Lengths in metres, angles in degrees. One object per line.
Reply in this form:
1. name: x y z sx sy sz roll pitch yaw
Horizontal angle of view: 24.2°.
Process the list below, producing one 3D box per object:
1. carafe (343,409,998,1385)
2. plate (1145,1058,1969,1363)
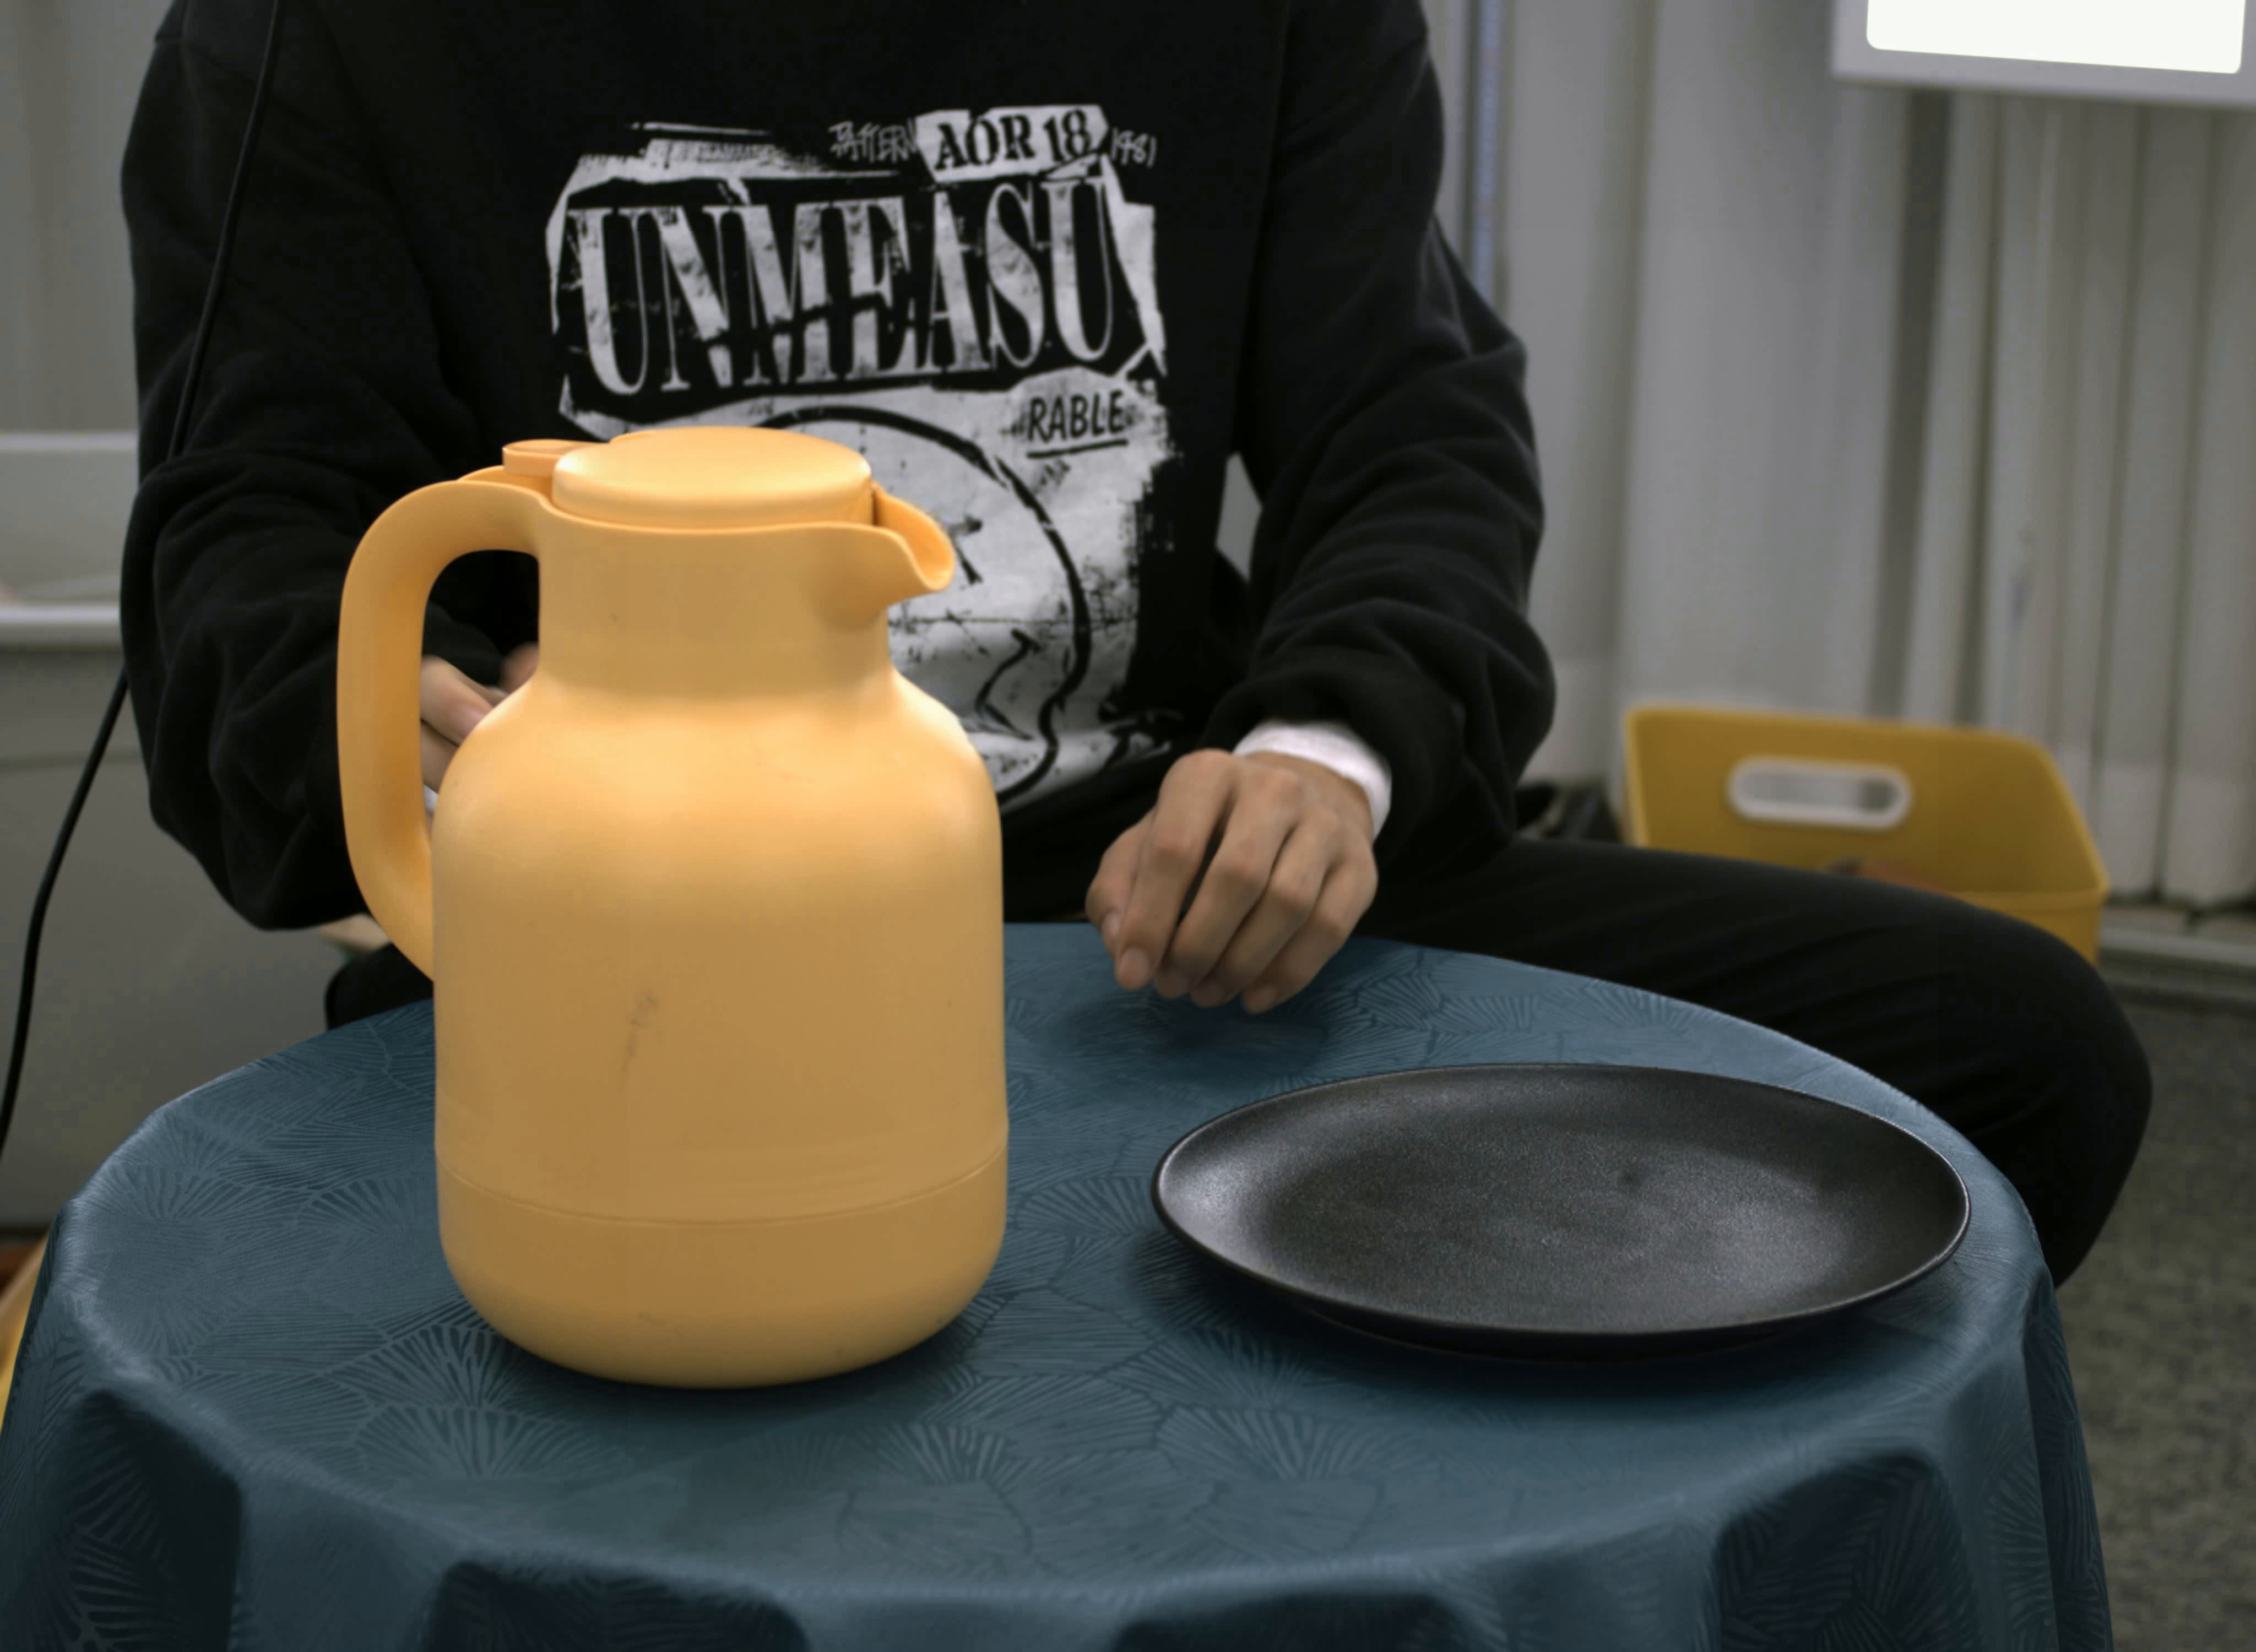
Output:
1. carafe: -0.133 0.012 1.483 0.200 0.262 0.164 12 17 28
2. plate: 0.127 0.117 1.566 0.243 0.023 0.243 1 16 0
